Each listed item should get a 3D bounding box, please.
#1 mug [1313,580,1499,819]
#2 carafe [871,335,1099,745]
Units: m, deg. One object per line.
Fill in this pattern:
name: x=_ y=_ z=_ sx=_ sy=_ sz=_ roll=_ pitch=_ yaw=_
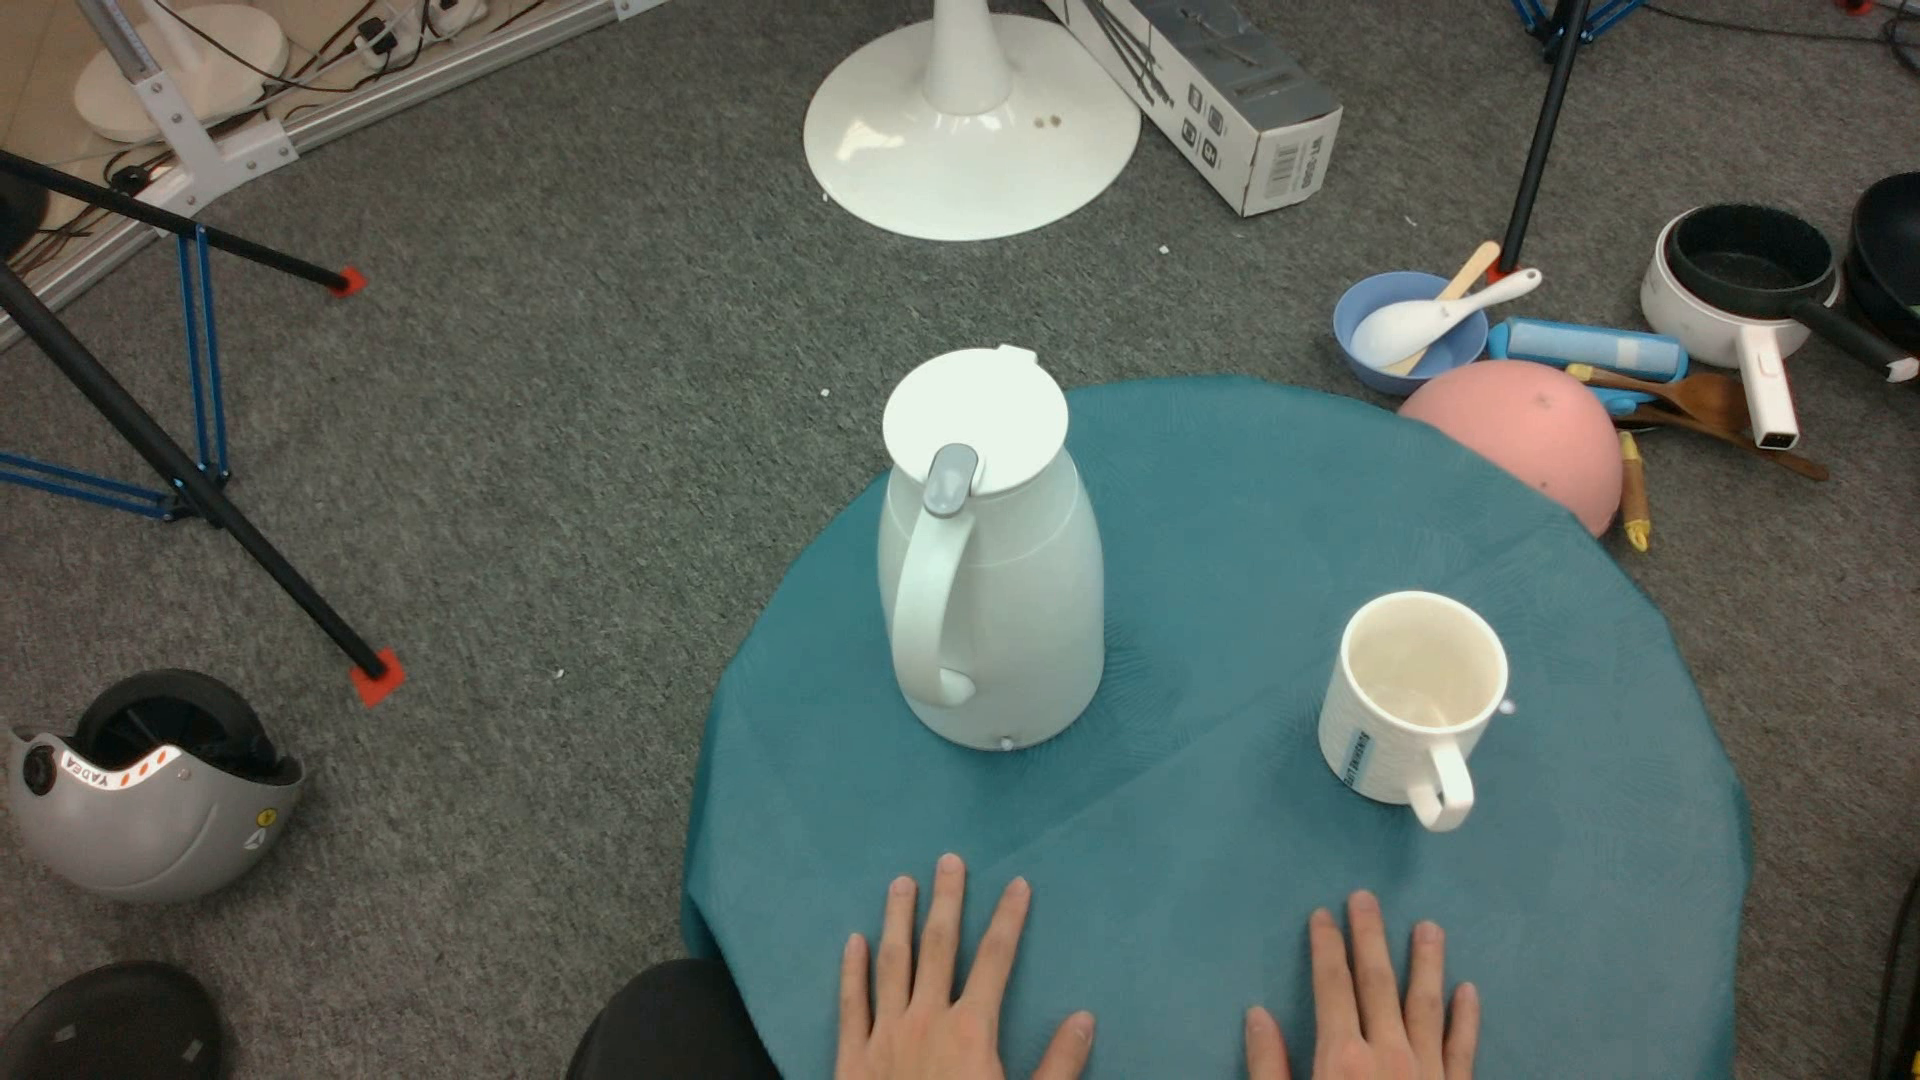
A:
mug: x=0.251 y=0.098 z=0.769 sx=0.085 sy=0.101 sz=0.119 roll=-10 pitch=55 yaw=-2
carafe: x=0.008 y=0.016 z=0.756 sx=0.132 sy=0.247 sz=0.168 roll=14 pitch=58 yaw=13
